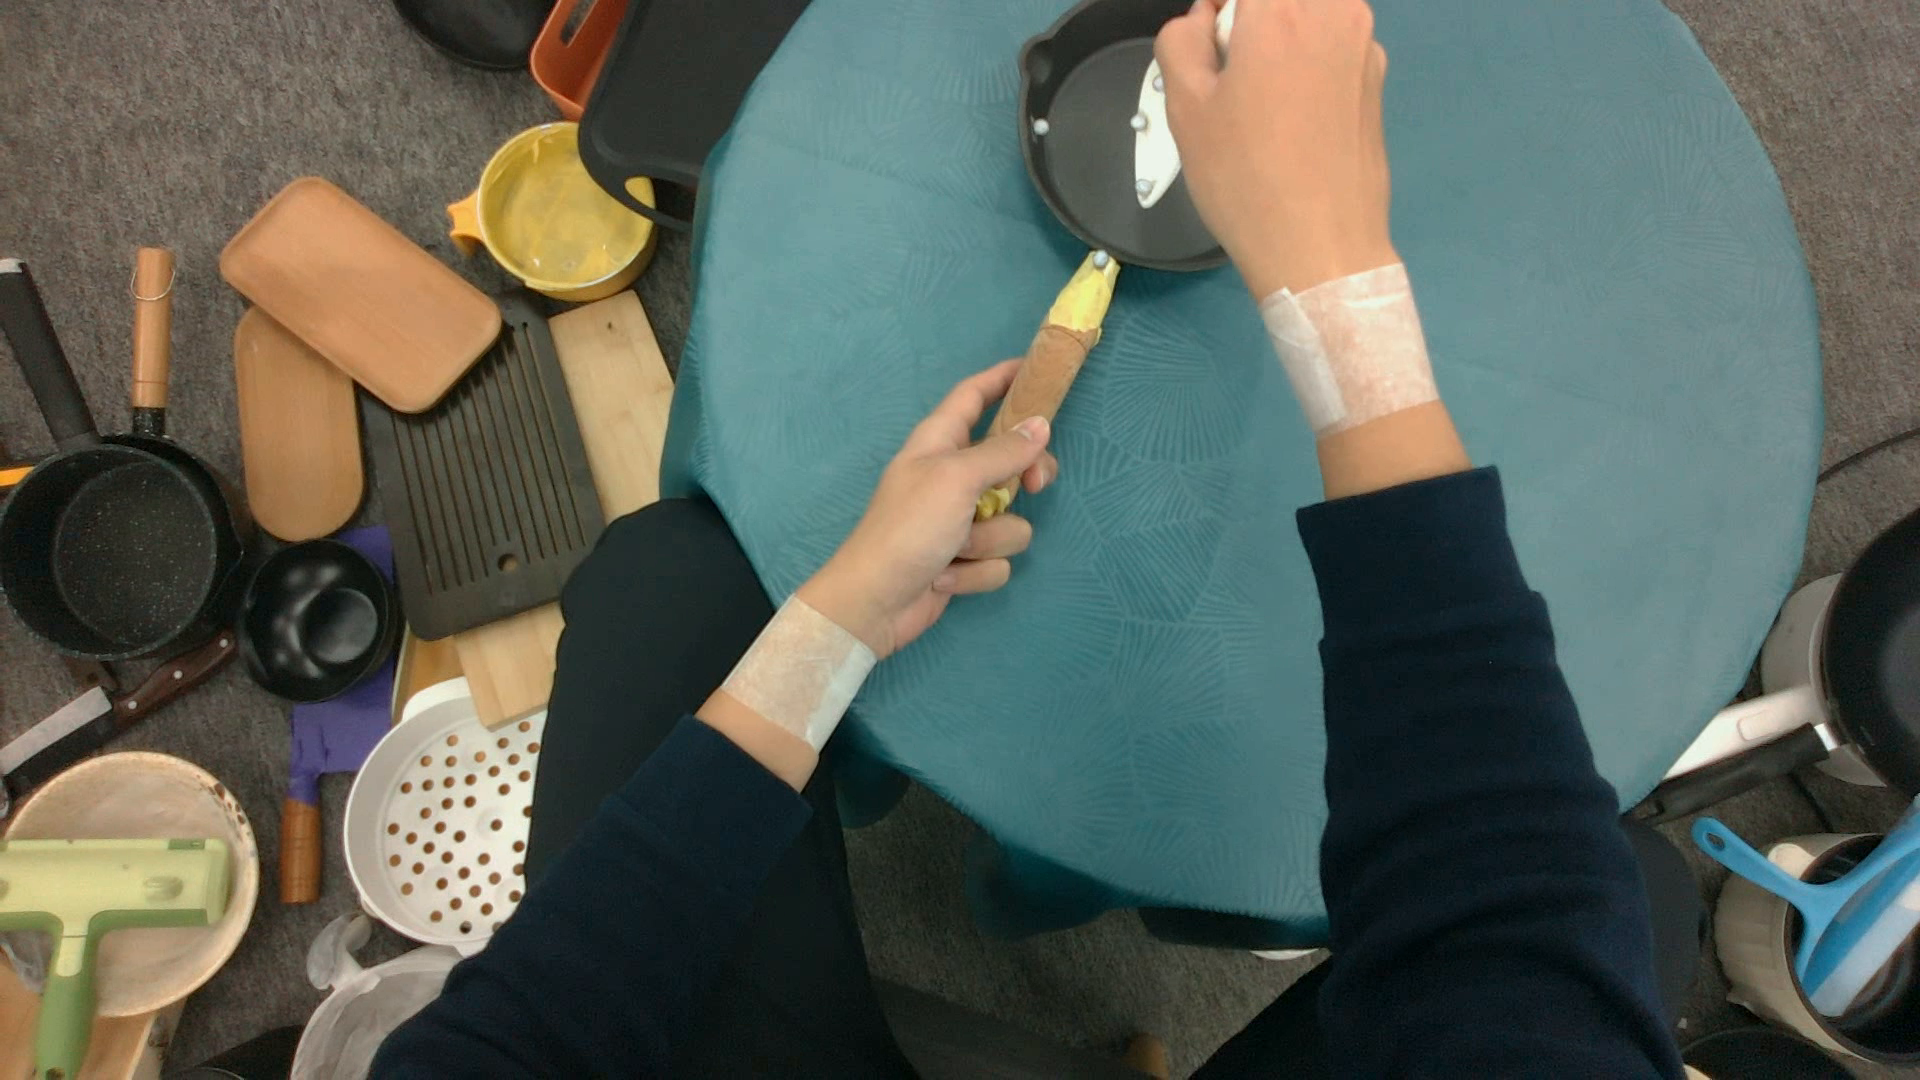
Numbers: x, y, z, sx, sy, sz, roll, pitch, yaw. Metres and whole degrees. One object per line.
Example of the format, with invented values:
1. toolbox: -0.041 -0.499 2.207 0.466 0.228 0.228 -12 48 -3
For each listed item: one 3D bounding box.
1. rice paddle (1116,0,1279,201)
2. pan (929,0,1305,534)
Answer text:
1. rice paddle: 0.091 -0.201 0.611 0.029 0.205 0.069 0 90 -8
2. pan: 0.060 -0.145 0.691 0.169 0.049 0.325 28 78 0
